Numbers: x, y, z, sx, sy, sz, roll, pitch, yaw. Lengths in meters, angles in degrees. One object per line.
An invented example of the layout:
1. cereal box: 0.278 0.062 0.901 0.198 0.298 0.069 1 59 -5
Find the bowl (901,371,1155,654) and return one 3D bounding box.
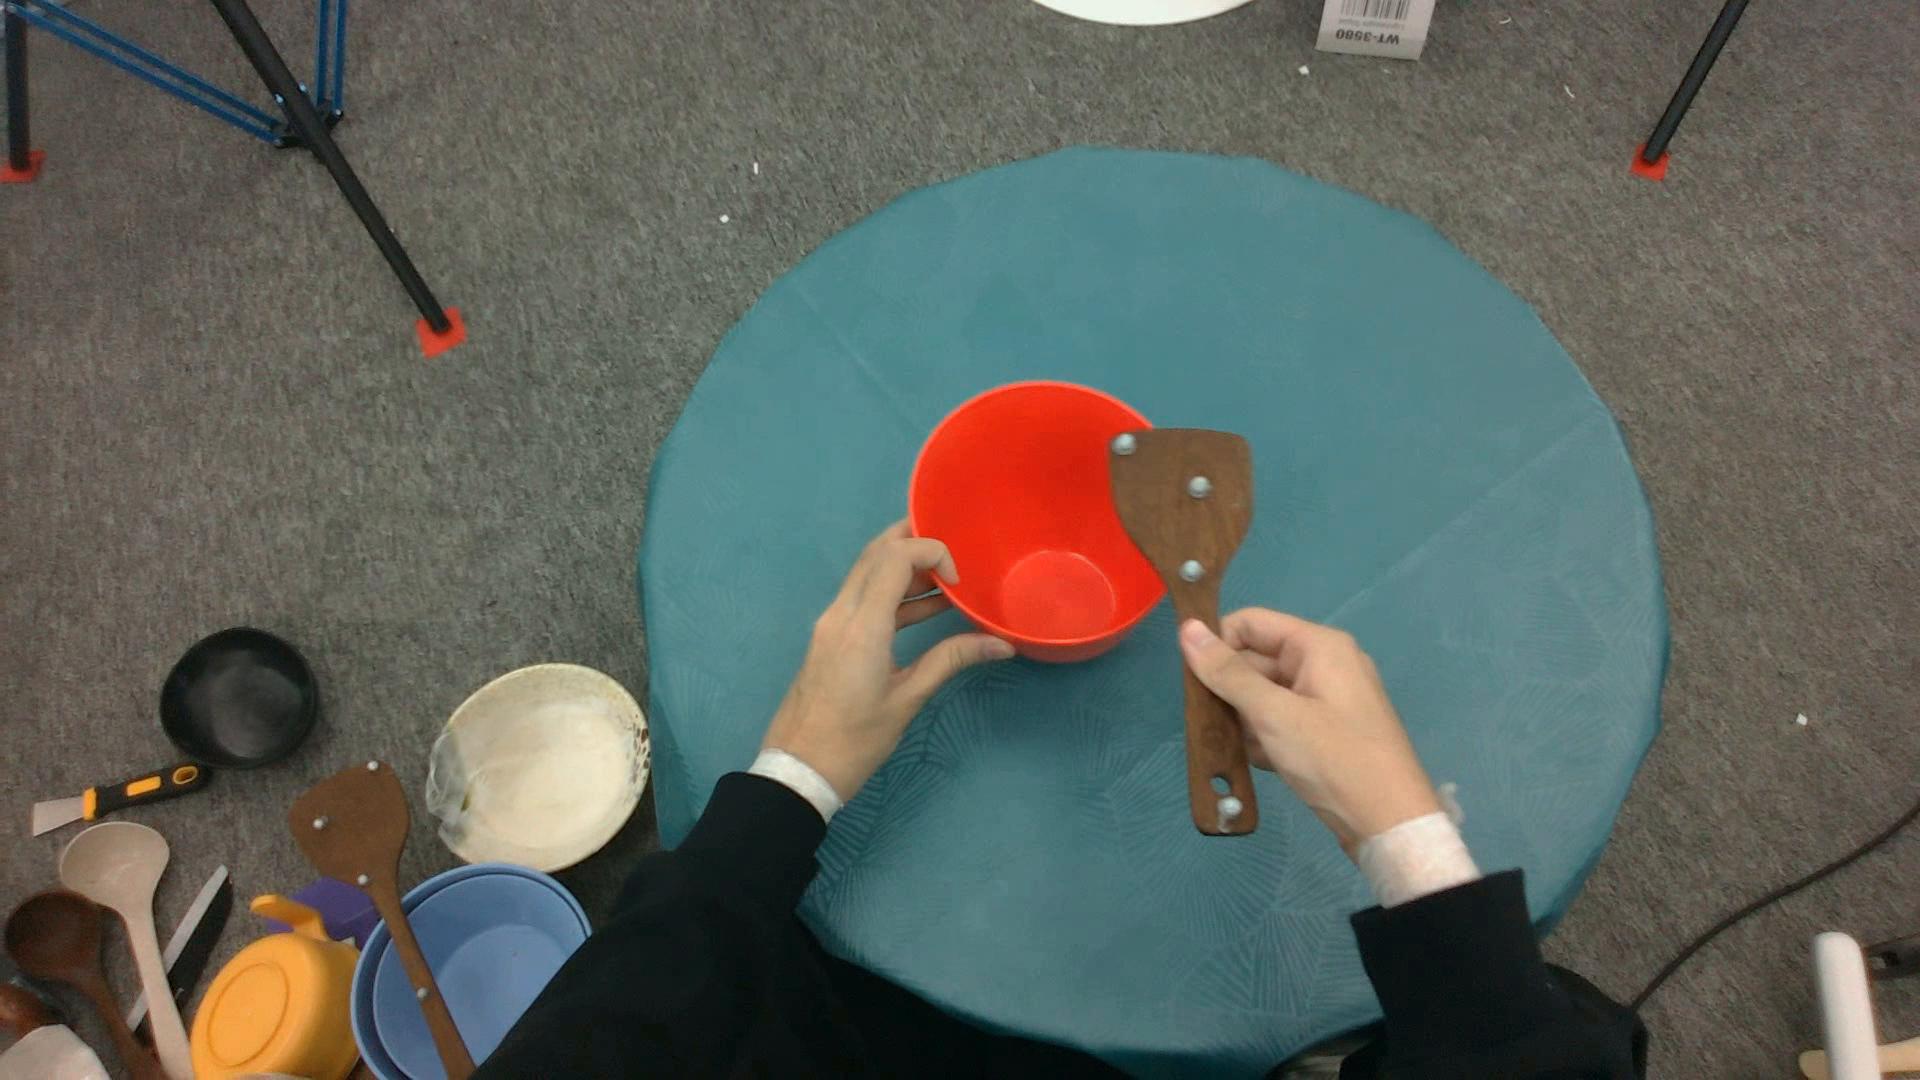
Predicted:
1. bowl: 0.044 -0.002 0.748 0.148 0.104 0.148 0 59 0

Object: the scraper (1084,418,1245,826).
1. scraper: 0.102 0.031 0.634 0.076 0.011 0.212 1 57 -6
